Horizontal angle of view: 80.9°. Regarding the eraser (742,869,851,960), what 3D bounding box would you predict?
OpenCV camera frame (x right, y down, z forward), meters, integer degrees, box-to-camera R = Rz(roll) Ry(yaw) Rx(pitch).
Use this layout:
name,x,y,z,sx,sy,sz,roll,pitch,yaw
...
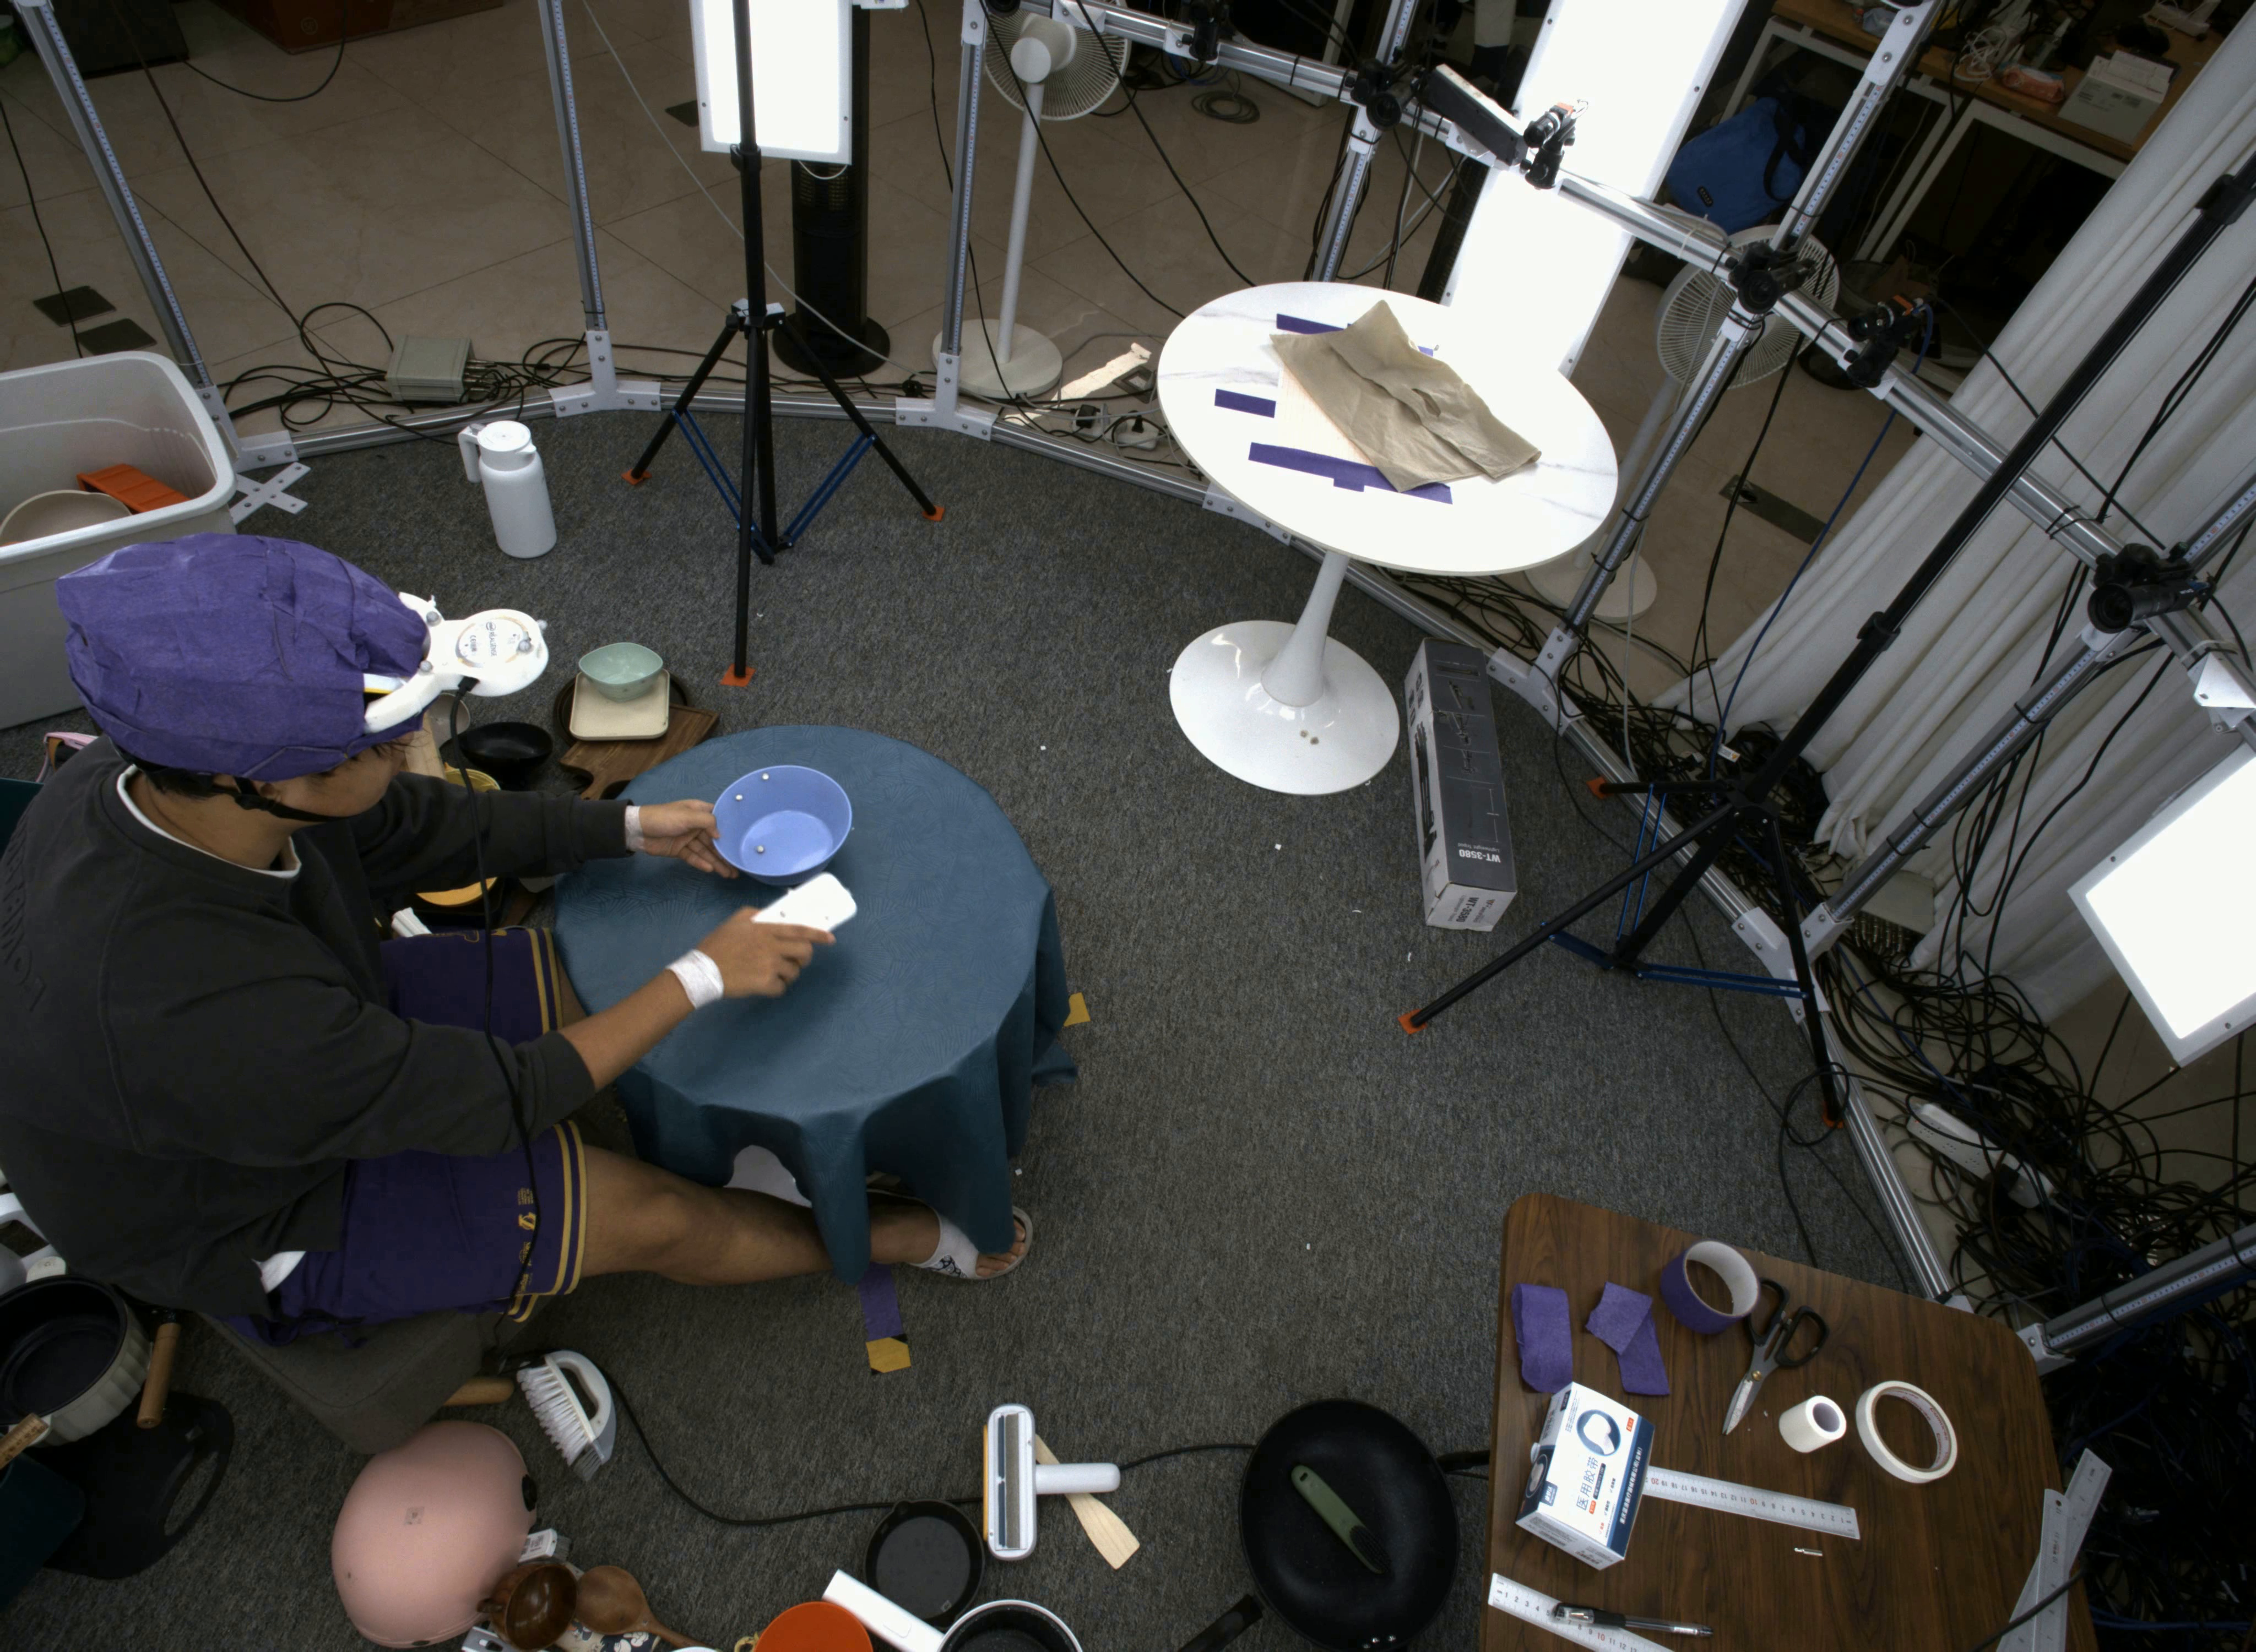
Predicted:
name,x,y,z,sx,sy,sz,roll,pitch,yaw
eraser,-0.396,0.102,1.543,0.131,0.034,0.063,-35,84,-37

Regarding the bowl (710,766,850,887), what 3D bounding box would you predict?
name,x,y,z,sx,sy,sz,roll,pitch,yaw
bowl,-0.440,0.010,1.657,0.175,0.072,0.173,4,52,-4
